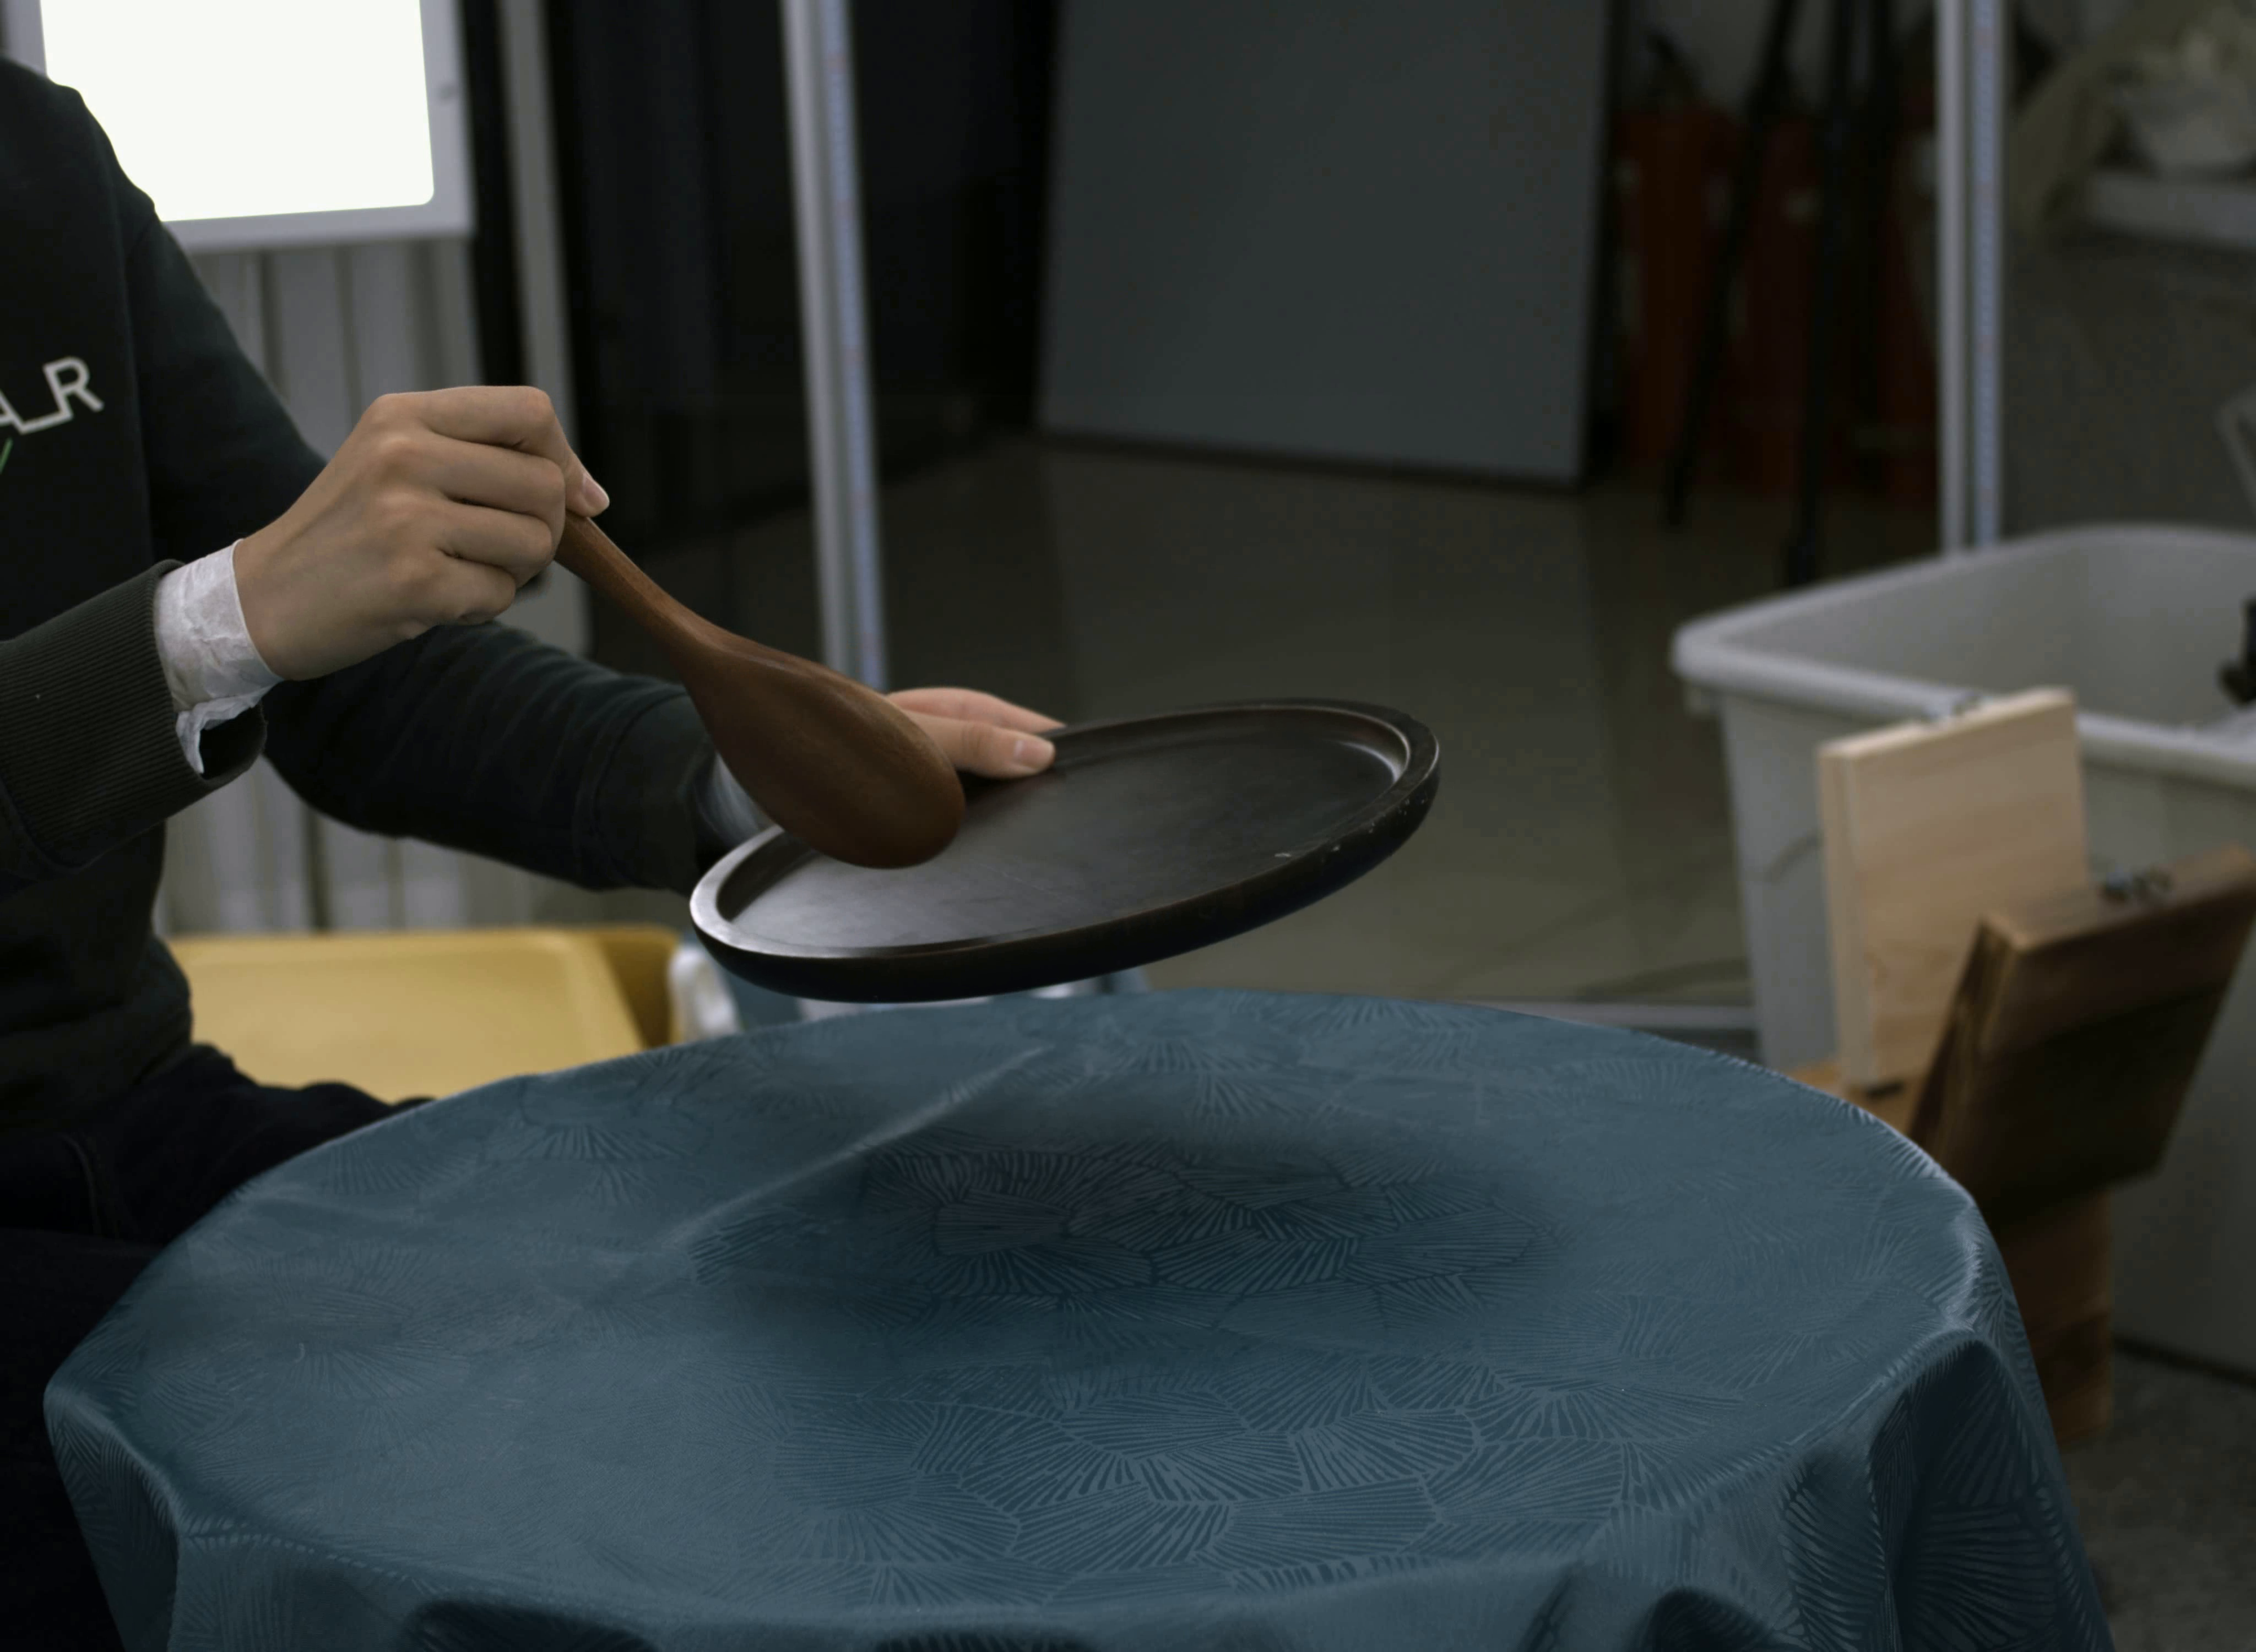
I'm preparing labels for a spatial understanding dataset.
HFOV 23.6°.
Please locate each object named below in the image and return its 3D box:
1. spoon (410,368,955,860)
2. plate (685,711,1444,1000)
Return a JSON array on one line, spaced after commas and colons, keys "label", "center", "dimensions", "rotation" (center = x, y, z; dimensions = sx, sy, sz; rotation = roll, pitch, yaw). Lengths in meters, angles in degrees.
[{"label": "spoon", "center": [-0.138, -0.061, 1.669], "dimensions": [0.076, 0.214, 0.017], "rotation": [-29, 23, 46]}, {"label": "plate", "center": [-0.019, 0.008, 1.760], "dimensions": [0.252, 0.029, 0.255], "rotation": [-12, 14, 2]}]
